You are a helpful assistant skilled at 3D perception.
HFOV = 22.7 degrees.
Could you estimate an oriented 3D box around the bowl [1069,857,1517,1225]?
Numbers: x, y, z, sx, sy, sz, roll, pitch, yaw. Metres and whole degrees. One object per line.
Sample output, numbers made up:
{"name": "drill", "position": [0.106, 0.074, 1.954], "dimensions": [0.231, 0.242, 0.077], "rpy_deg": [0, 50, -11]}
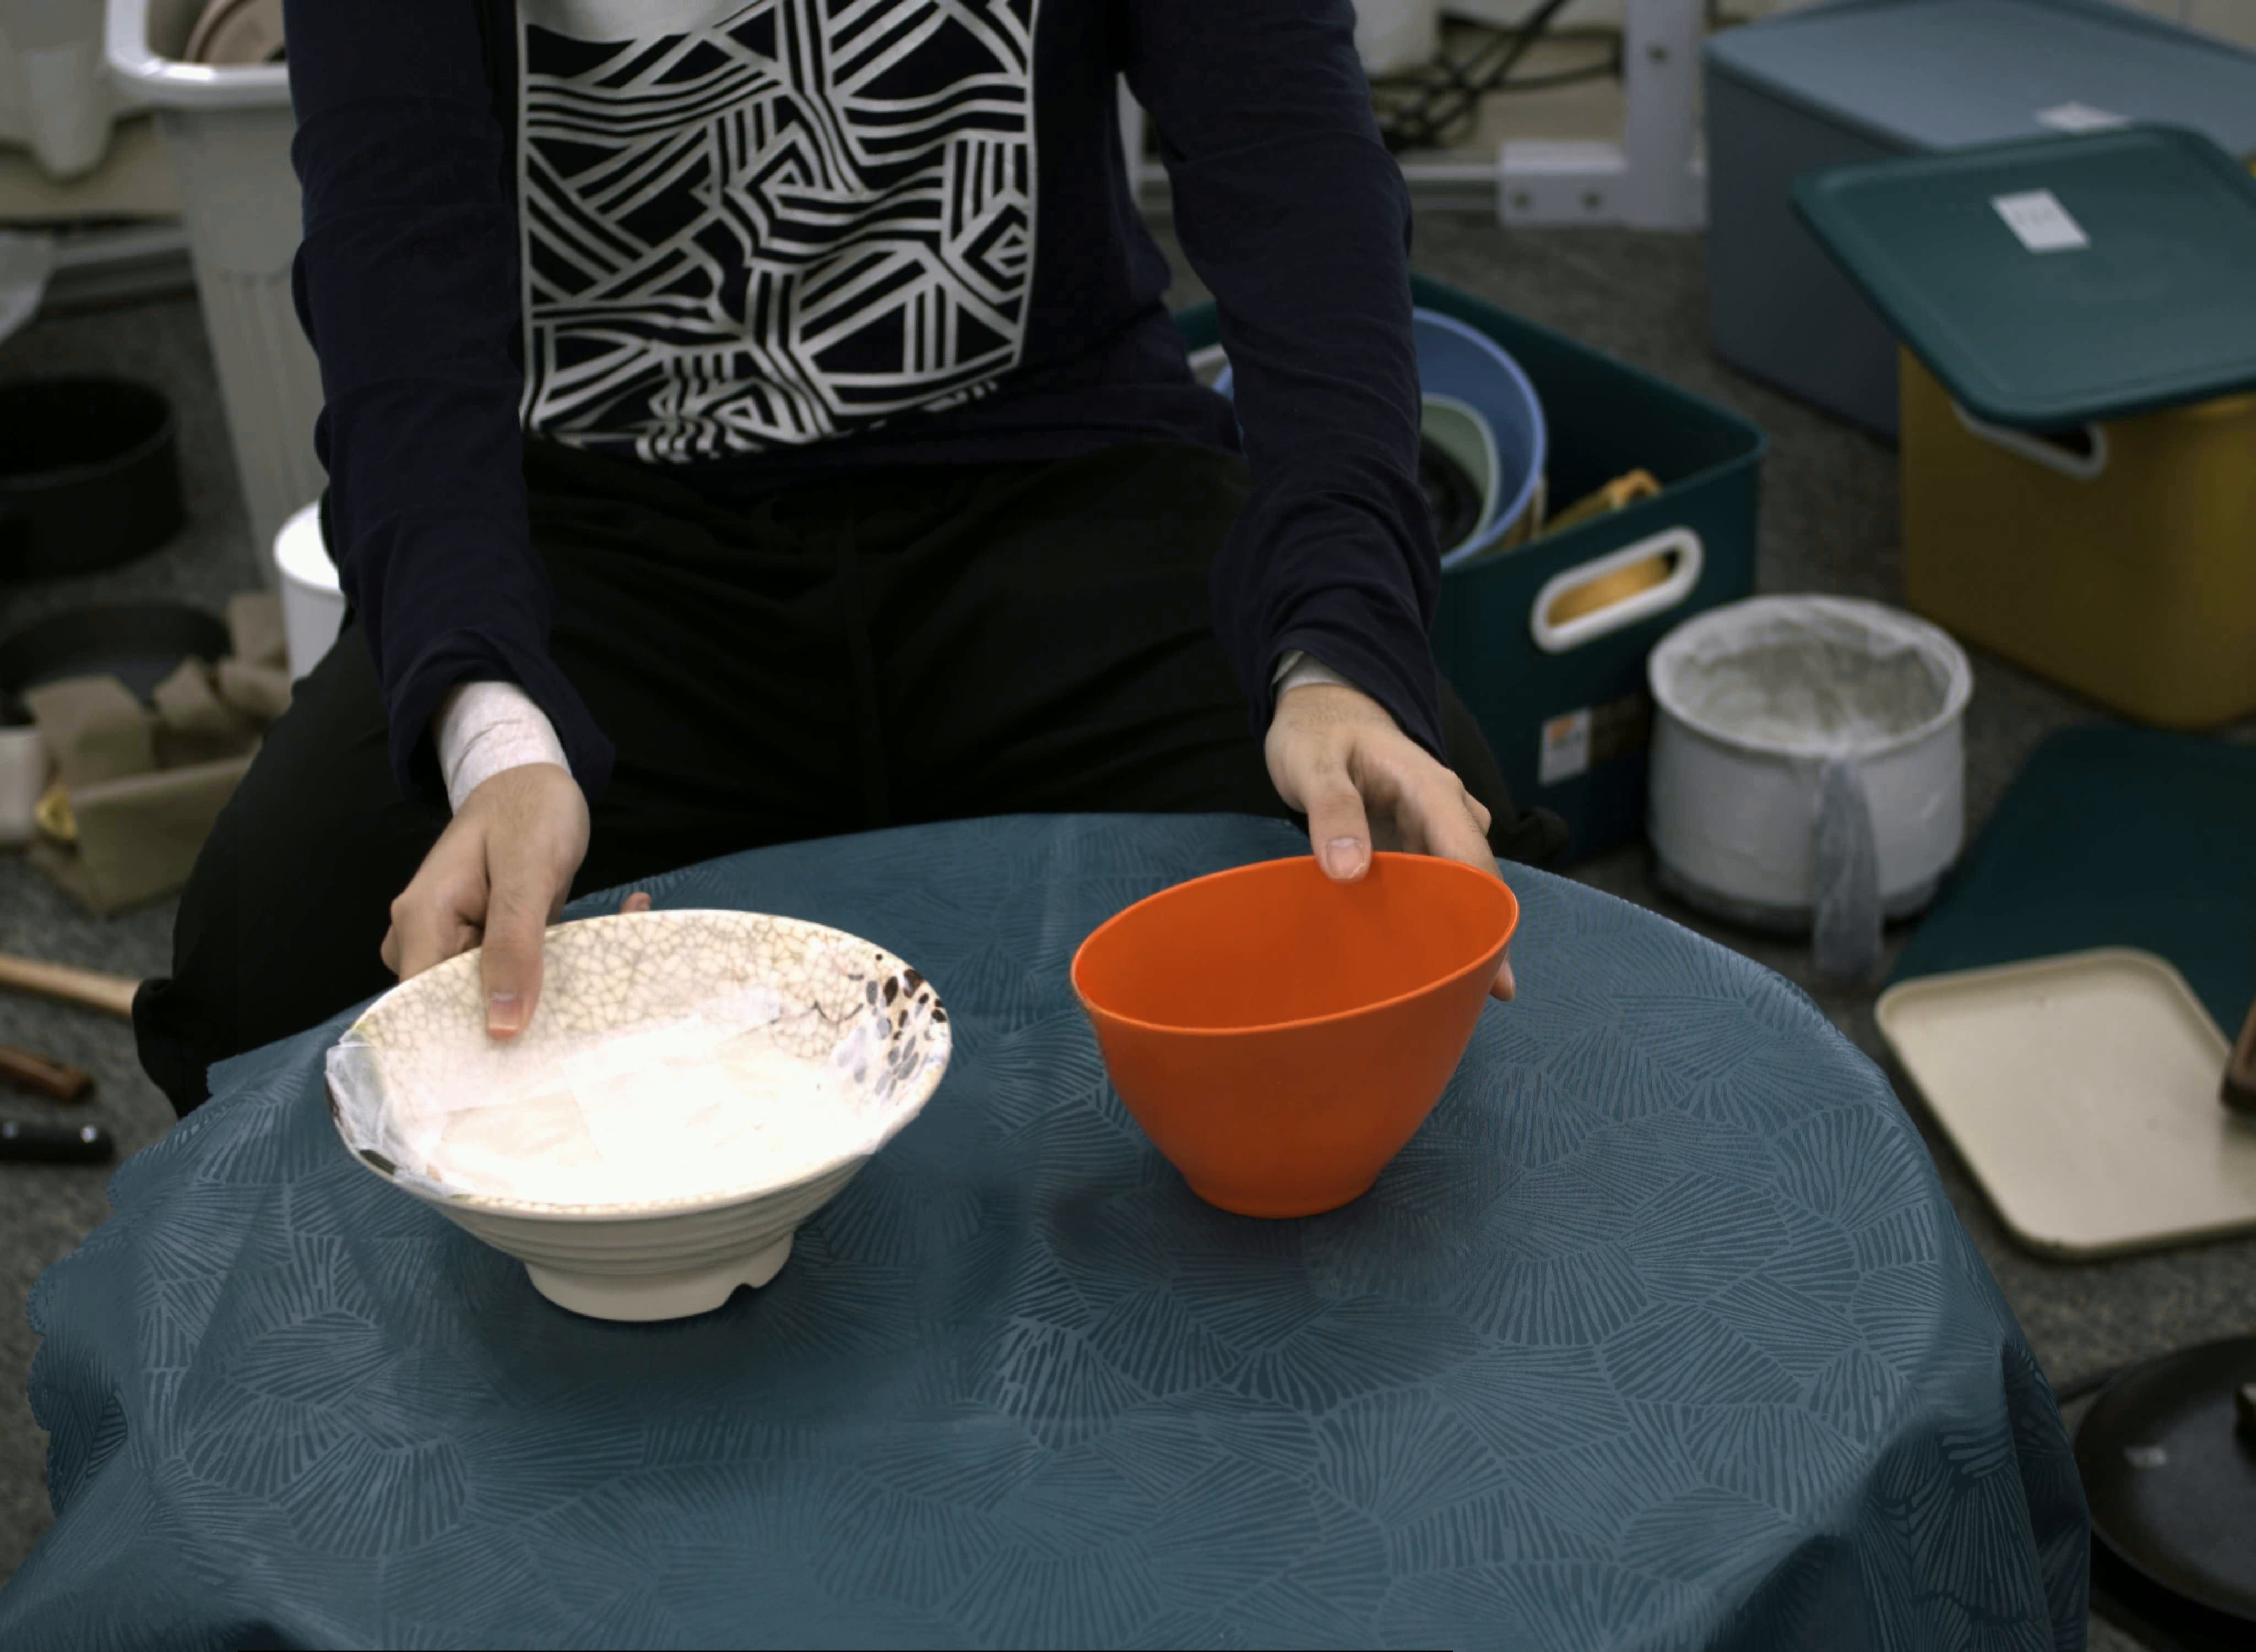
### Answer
{"name": "bowl", "position": [0.055, 0.074, 1.841], "dimensions": [0.147, 0.103, 0.150], "rpy_deg": [-3, 25, 2]}

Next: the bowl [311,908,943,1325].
{"name": "bowl", "position": [-0.159, 0.107, 1.821], "dimensions": [0.203, 0.077, 0.207], "rpy_deg": [-2, 25, 1]}
